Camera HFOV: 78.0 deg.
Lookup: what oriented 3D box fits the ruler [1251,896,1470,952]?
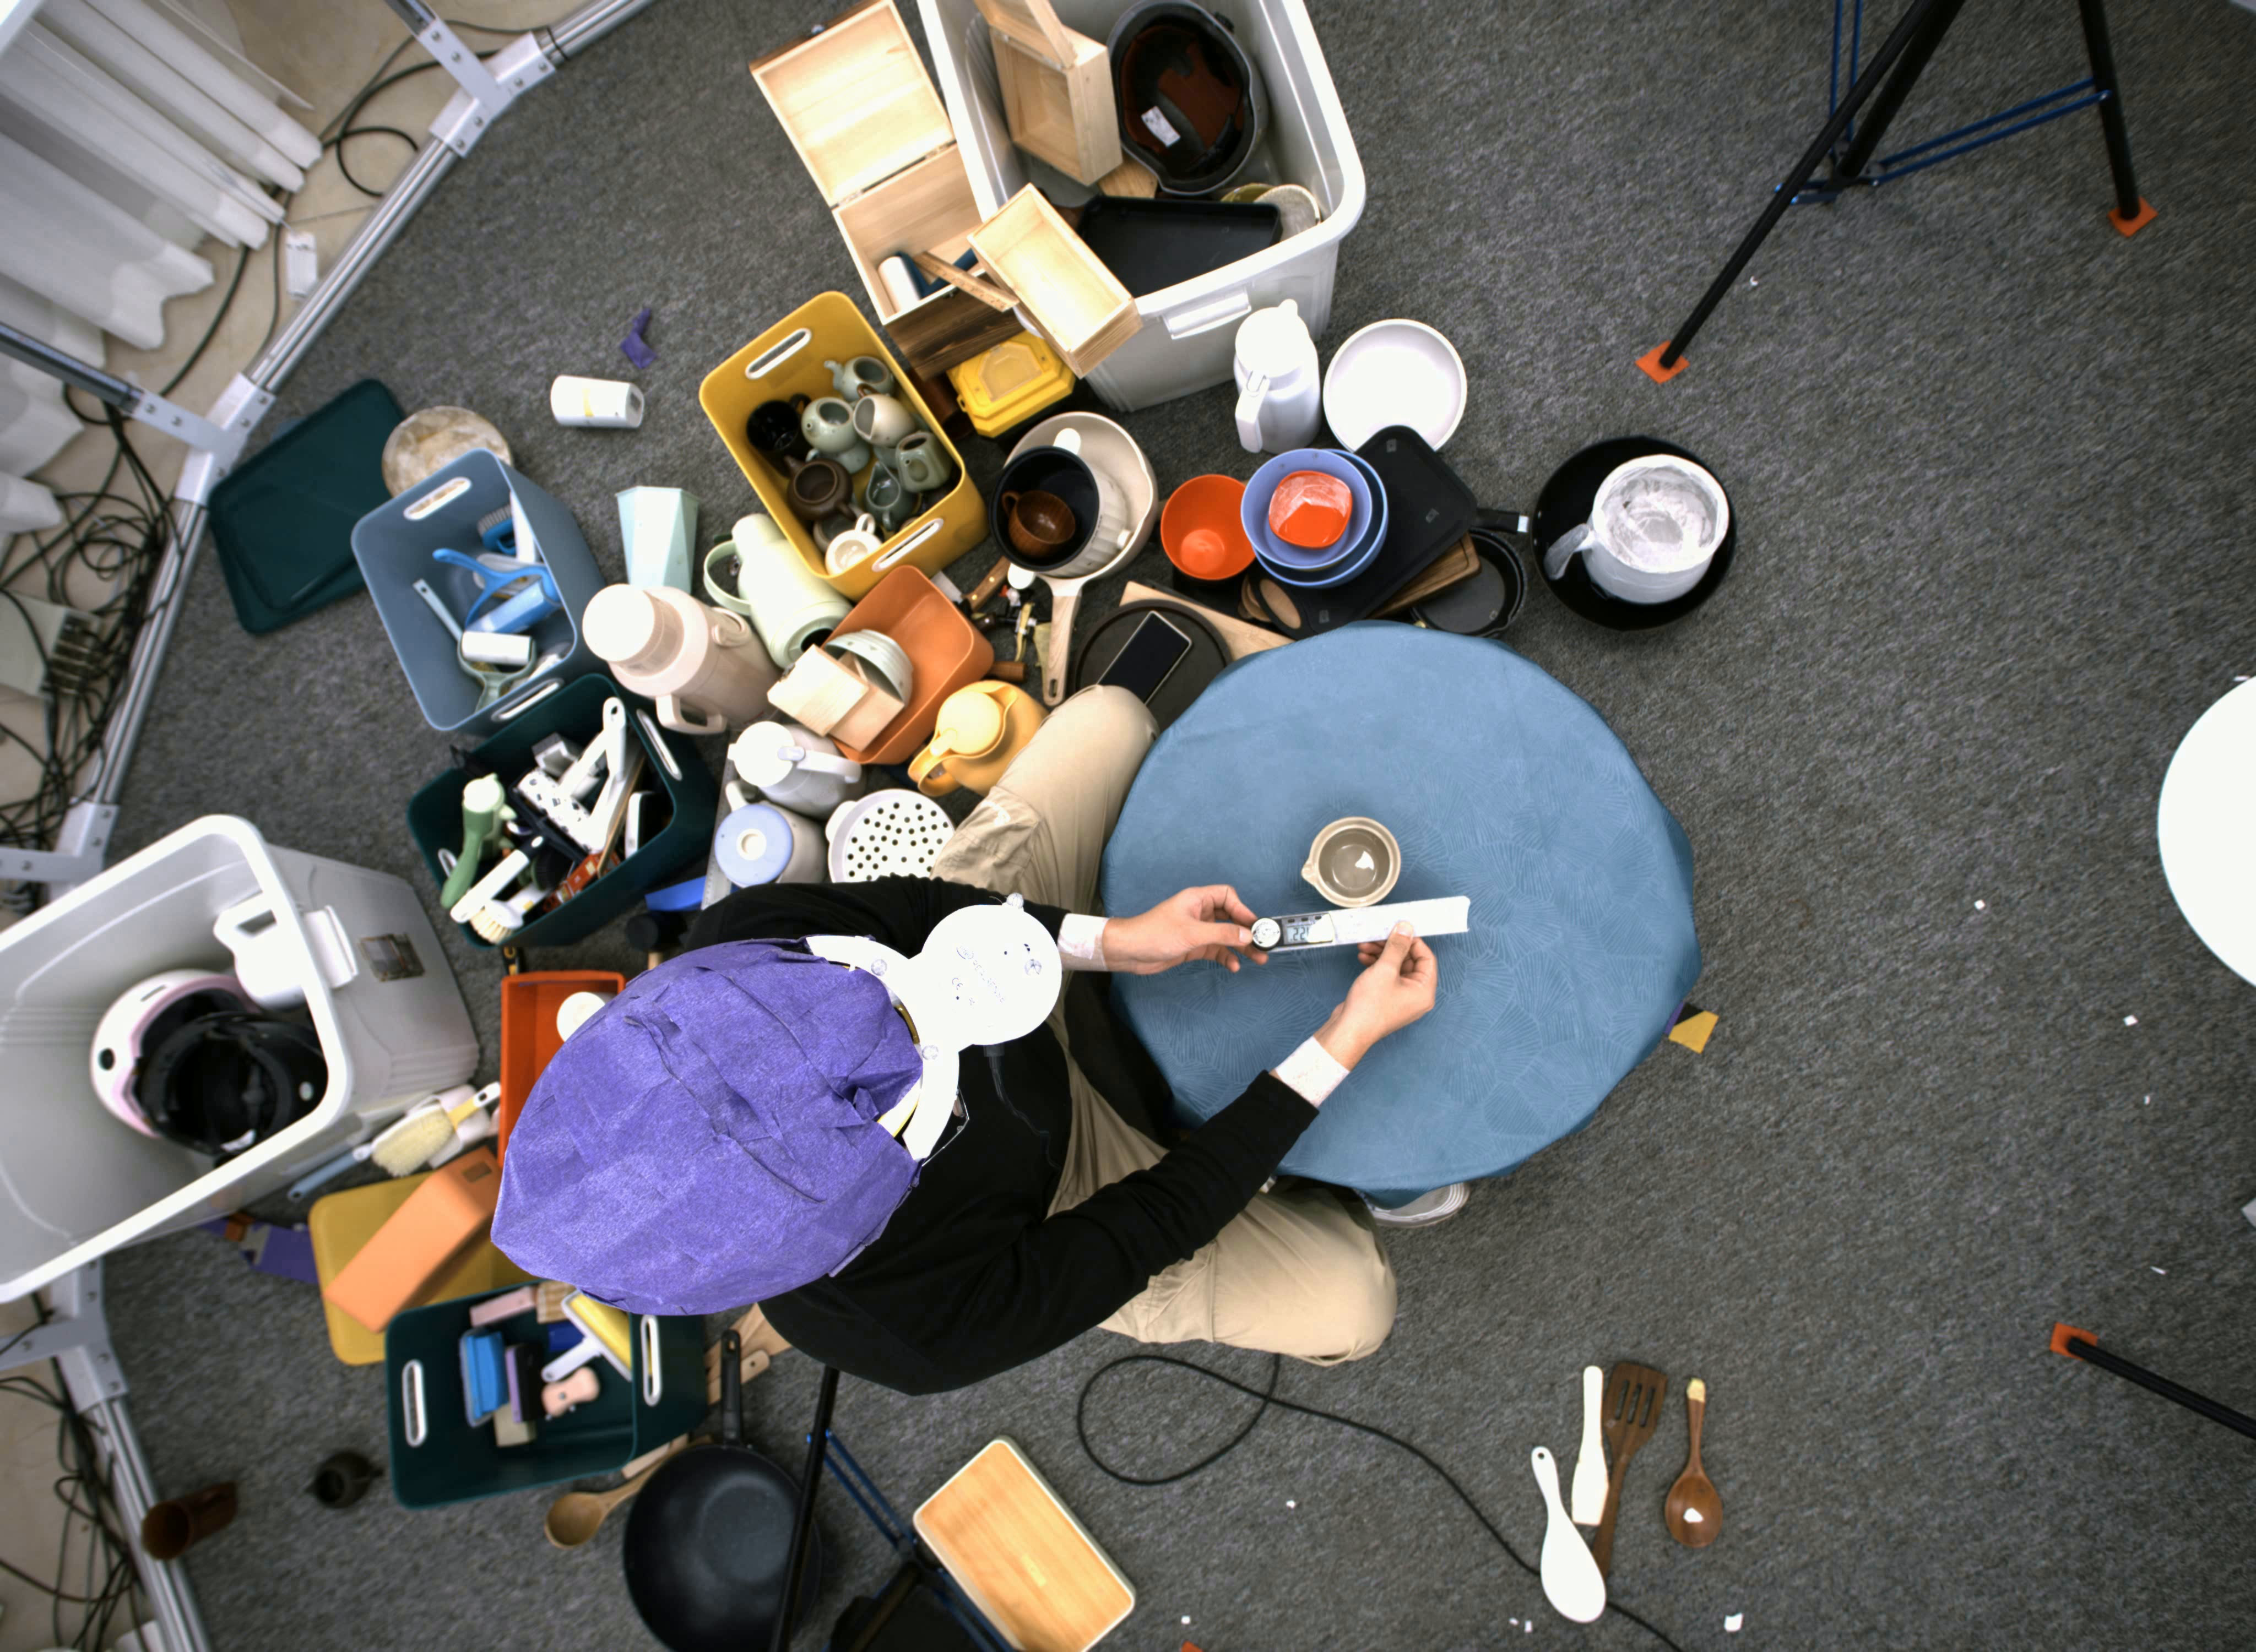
[{"bbox_3d":[0.231,0.098,1.382,0.219,0.024,0.038,-6,85,7],"label":"ruler"}]

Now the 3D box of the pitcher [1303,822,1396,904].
[{"bbox_3d":[0.229,0.040,1.432,0.096,0.071,0.083,-13,84,8],"label":"pitcher"}]
